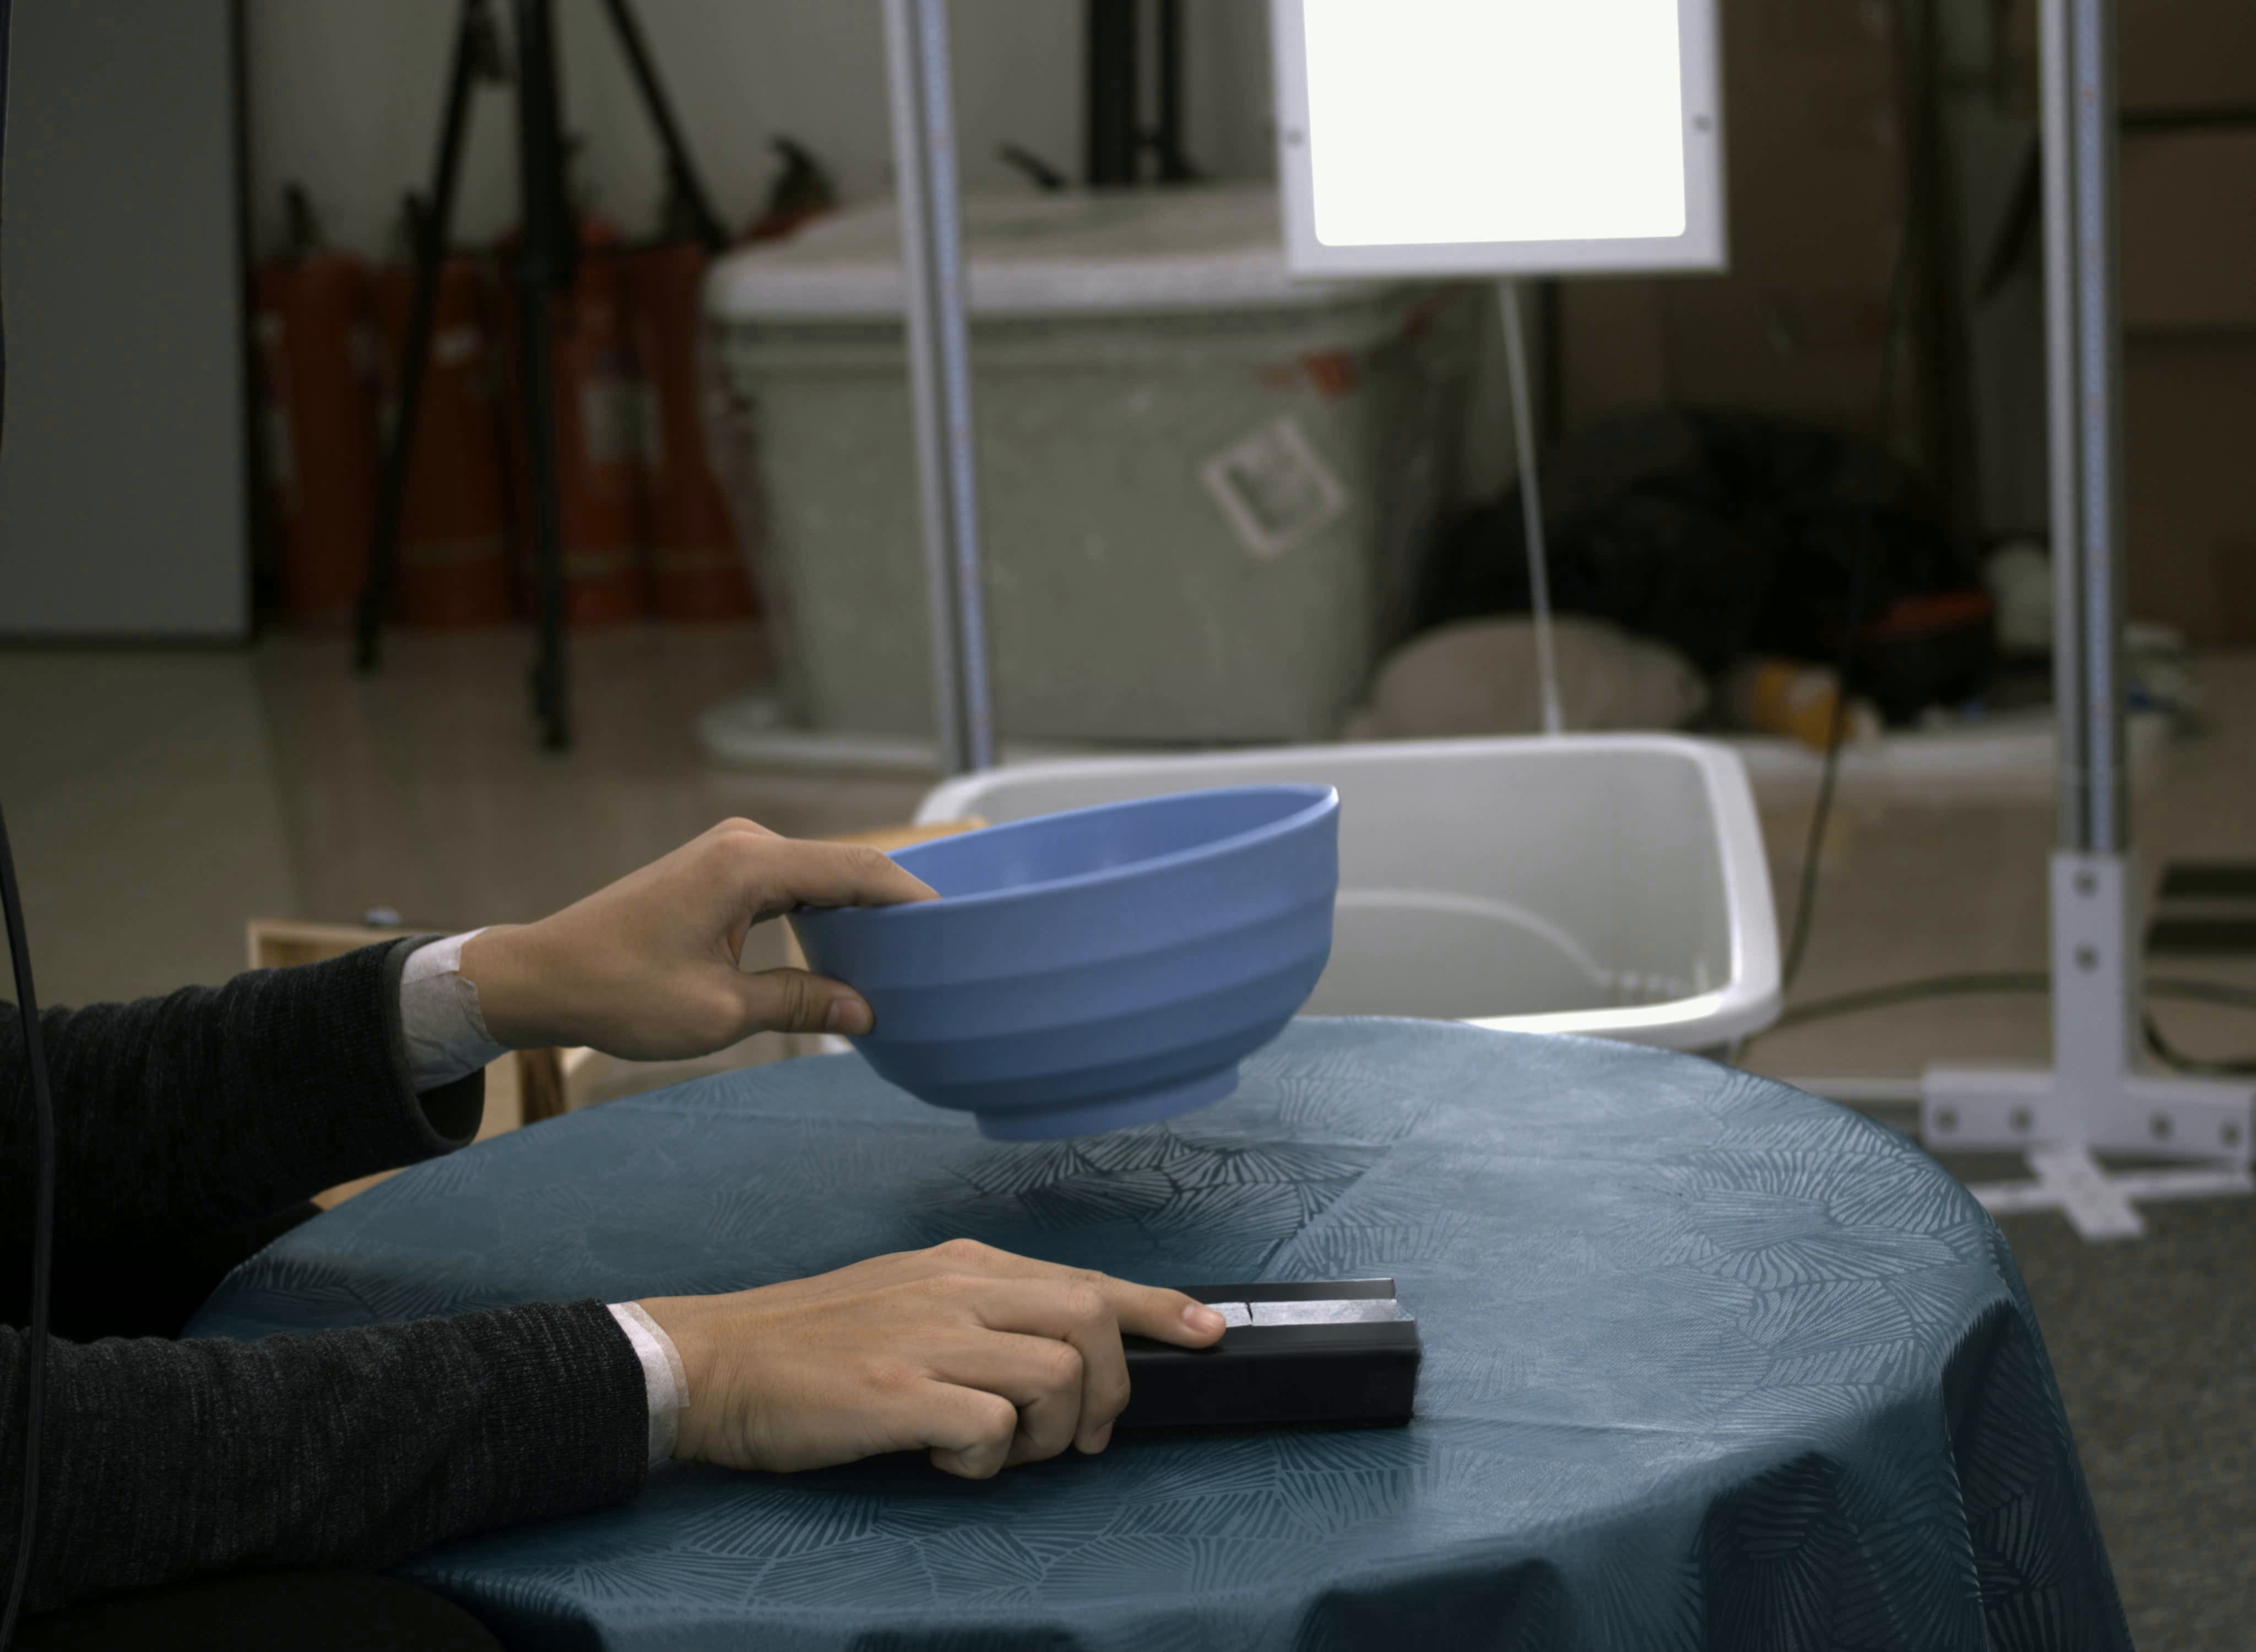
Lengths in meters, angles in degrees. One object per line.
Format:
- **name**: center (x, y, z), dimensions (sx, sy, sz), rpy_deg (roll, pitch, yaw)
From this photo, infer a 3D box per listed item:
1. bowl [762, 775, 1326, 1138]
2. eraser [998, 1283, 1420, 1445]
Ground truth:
- **bowl**: center (-0.023, 0.049, 1.898), dimensions (0.196, 0.096, 0.196), rpy_deg (-8, 12, 0)
- **eraser**: center (0.025, 0.162, 1.667), dimensions (0.125, 0.030, 0.053), rpy_deg (-3, 18, -1)
